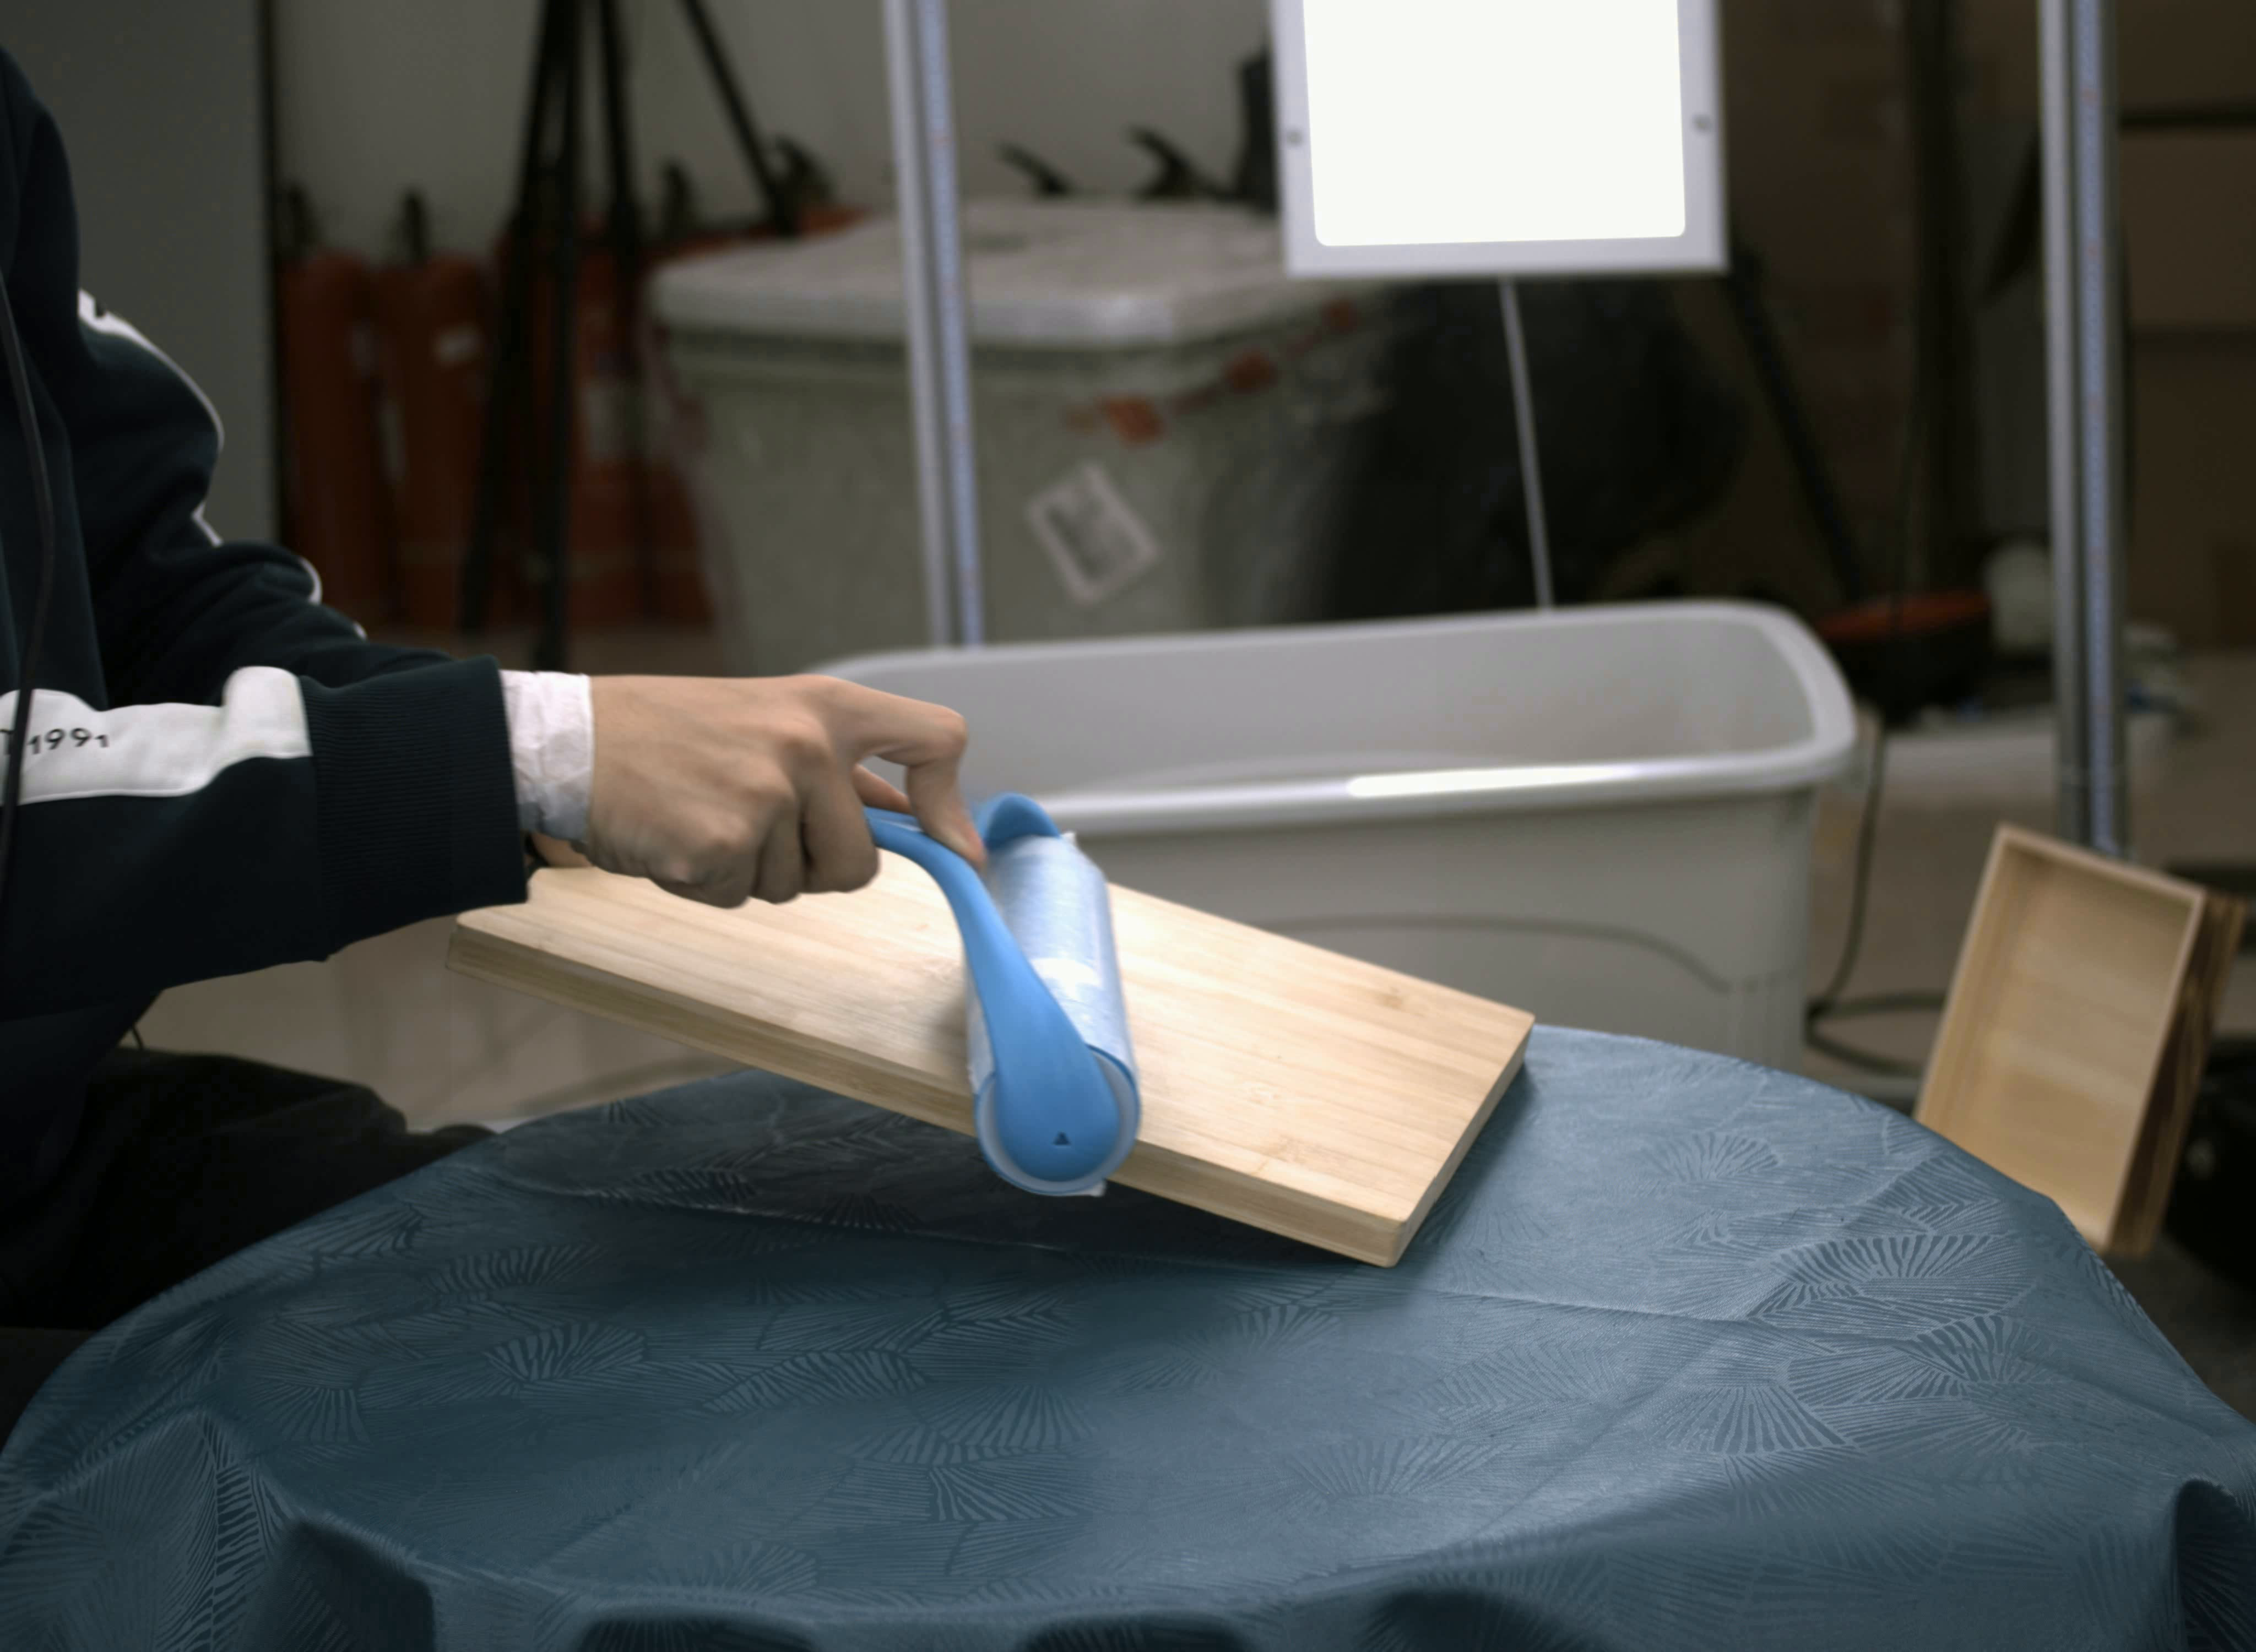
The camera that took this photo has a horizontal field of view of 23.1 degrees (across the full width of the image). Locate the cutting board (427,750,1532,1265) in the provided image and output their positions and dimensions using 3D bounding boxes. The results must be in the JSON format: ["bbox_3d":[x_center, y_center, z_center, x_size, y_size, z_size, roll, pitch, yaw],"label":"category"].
[{"bbox_3d":[-0.045,0.059,1.936,0.351,0.024,0.247,16,18,11],"label":"cutting board"}]

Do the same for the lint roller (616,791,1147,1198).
[{"bbox_3d":[-0.076,0.031,1.812,0.178,0.068,0.229,30,16,-15],"label":"lint roller"}]
